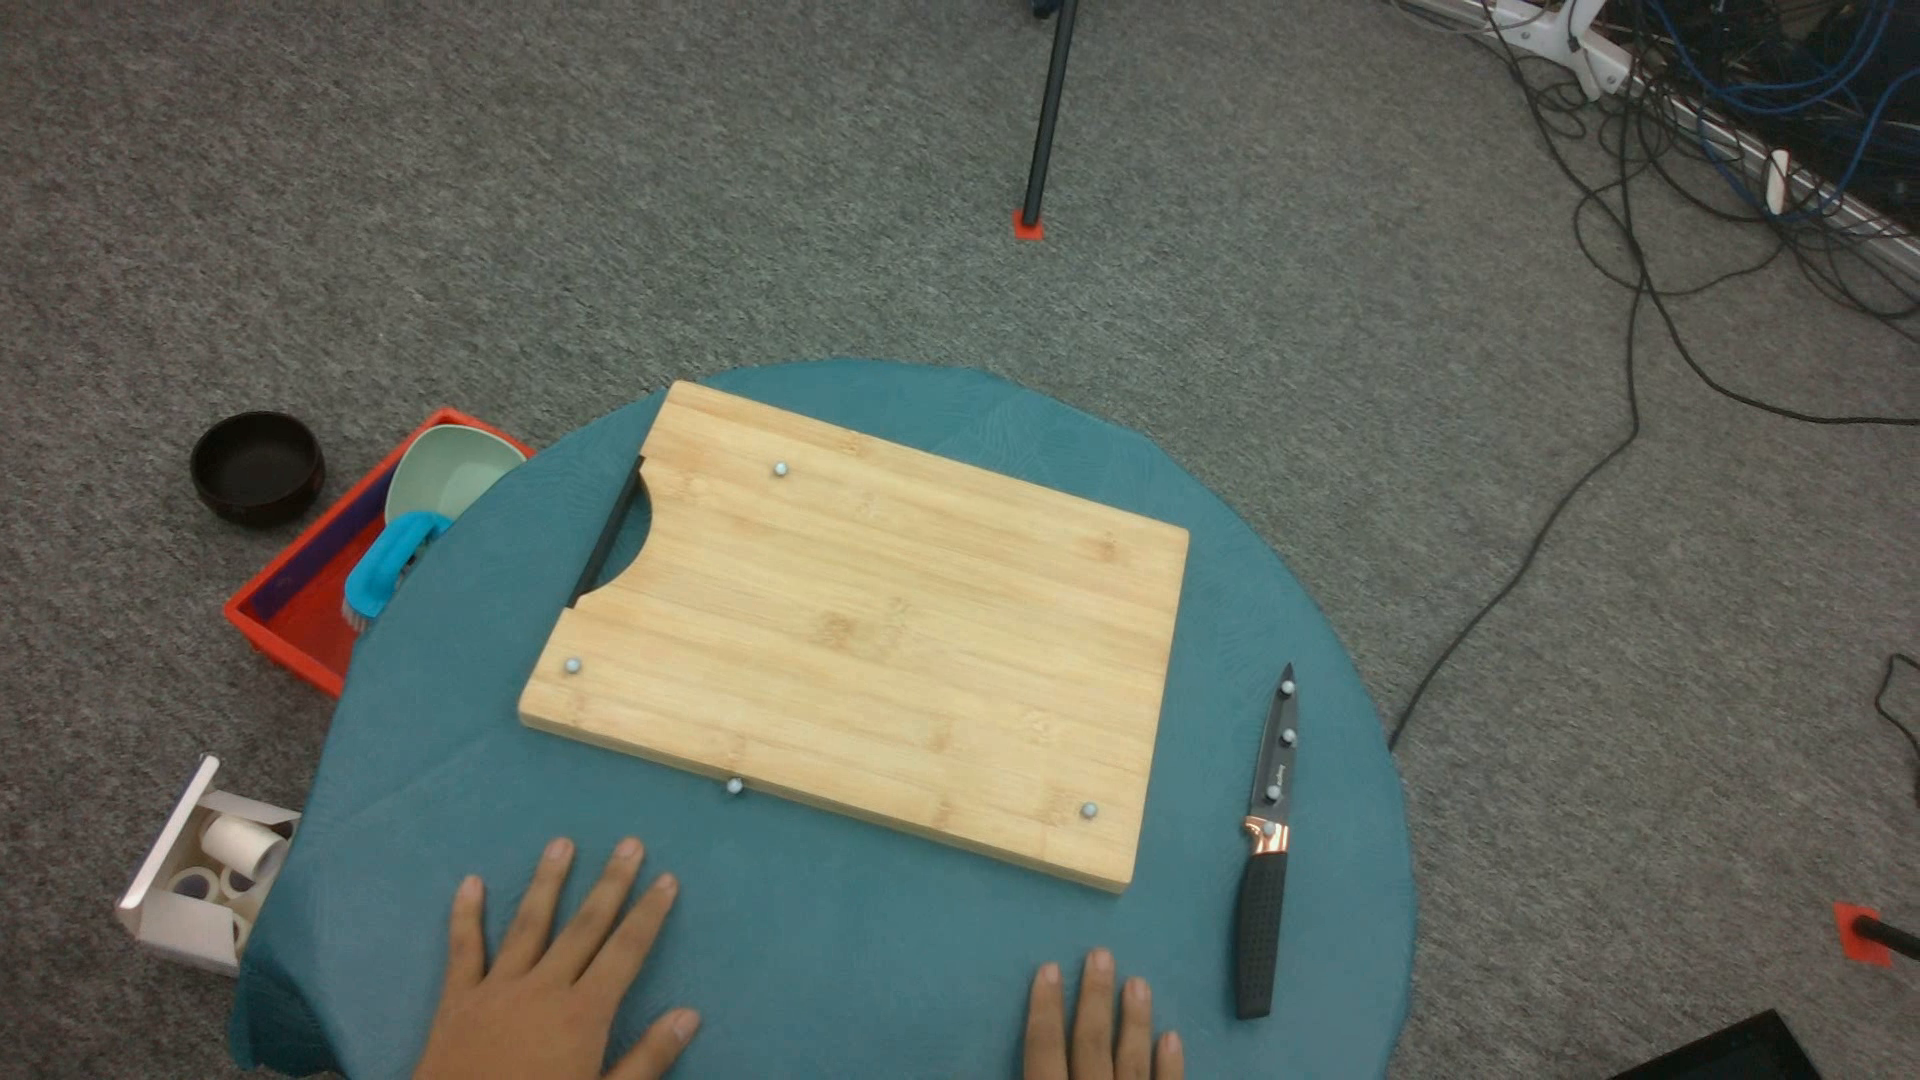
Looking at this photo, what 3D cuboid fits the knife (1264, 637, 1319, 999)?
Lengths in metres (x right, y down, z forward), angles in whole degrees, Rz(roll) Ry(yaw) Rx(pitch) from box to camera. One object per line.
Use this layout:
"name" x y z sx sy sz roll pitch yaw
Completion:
"knife" 0.193 0.151 0.790 0.026 0.017 0.226 10 54 7

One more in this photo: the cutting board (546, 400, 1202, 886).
"cutting board" -0.036 0.051 0.819 0.348 0.023 0.252 12 55 0
